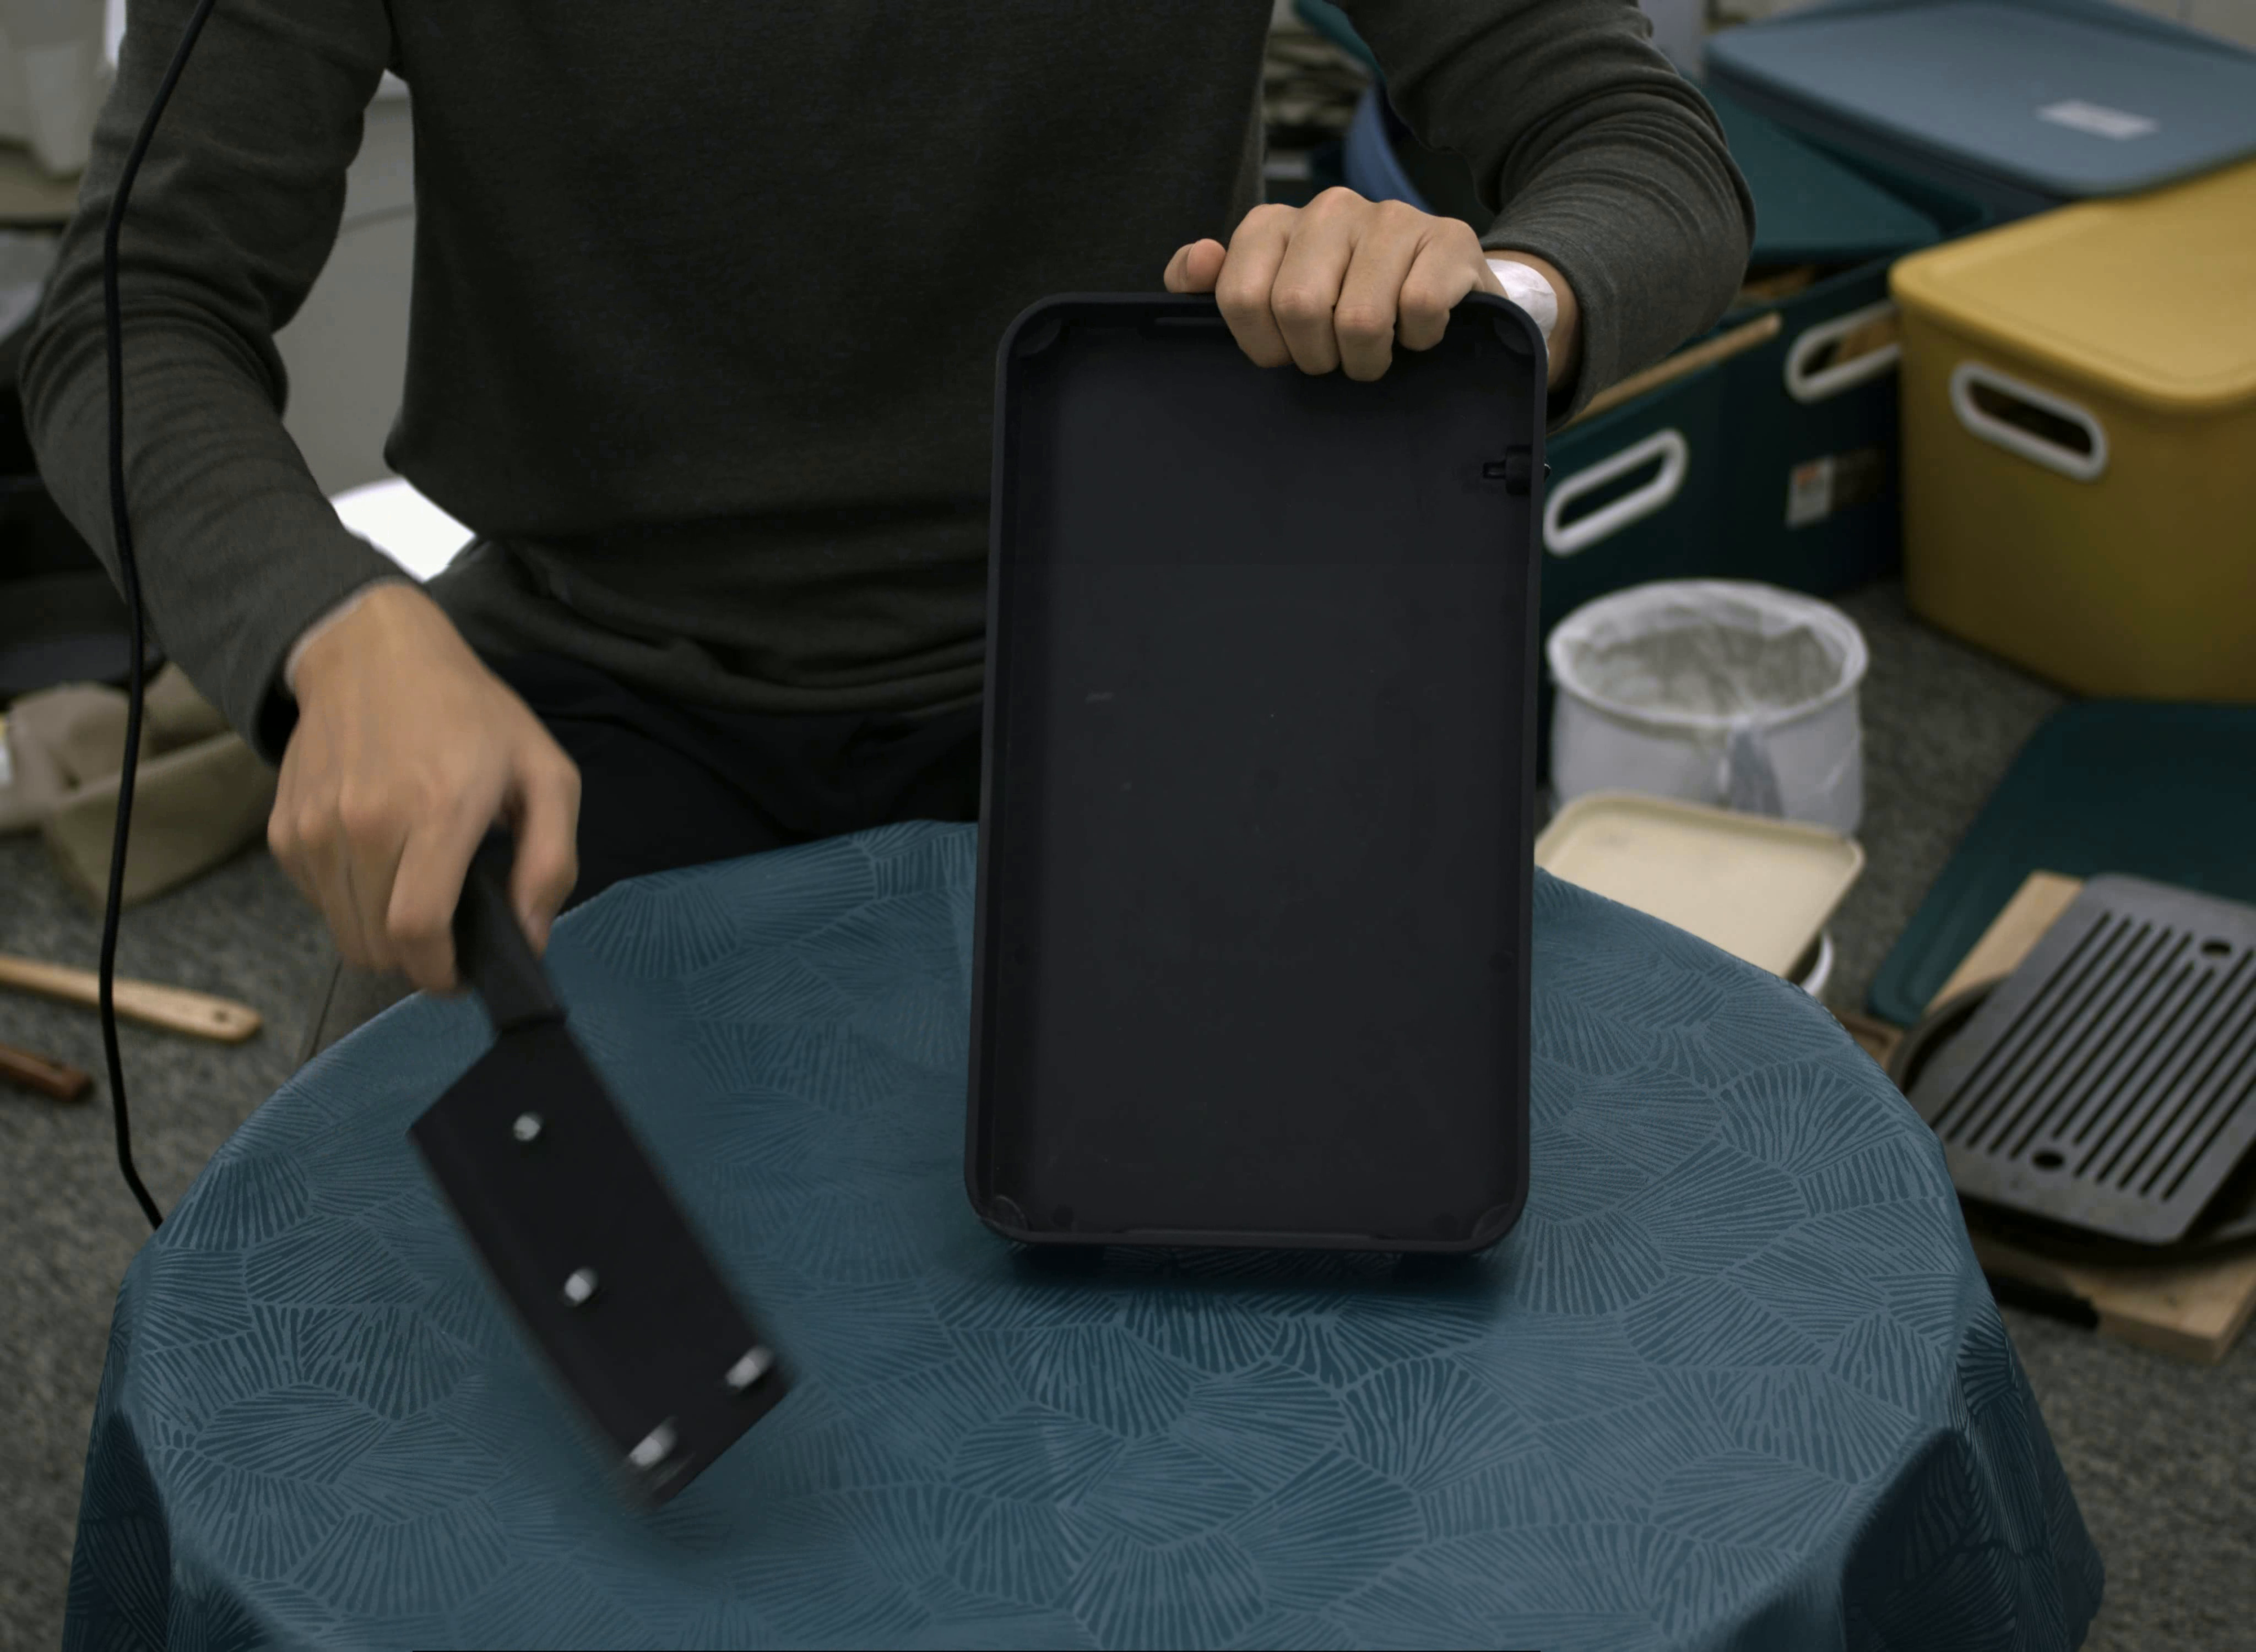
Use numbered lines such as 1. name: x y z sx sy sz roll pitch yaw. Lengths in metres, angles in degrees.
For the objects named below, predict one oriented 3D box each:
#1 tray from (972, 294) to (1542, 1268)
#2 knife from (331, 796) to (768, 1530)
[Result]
1. tray: 0.043 -0.014 1.841 0.183 0.322 0.037 -1 -13 6
2. knife: -0.193 0.097 1.762 0.080 0.020 0.306 -38 50 9
